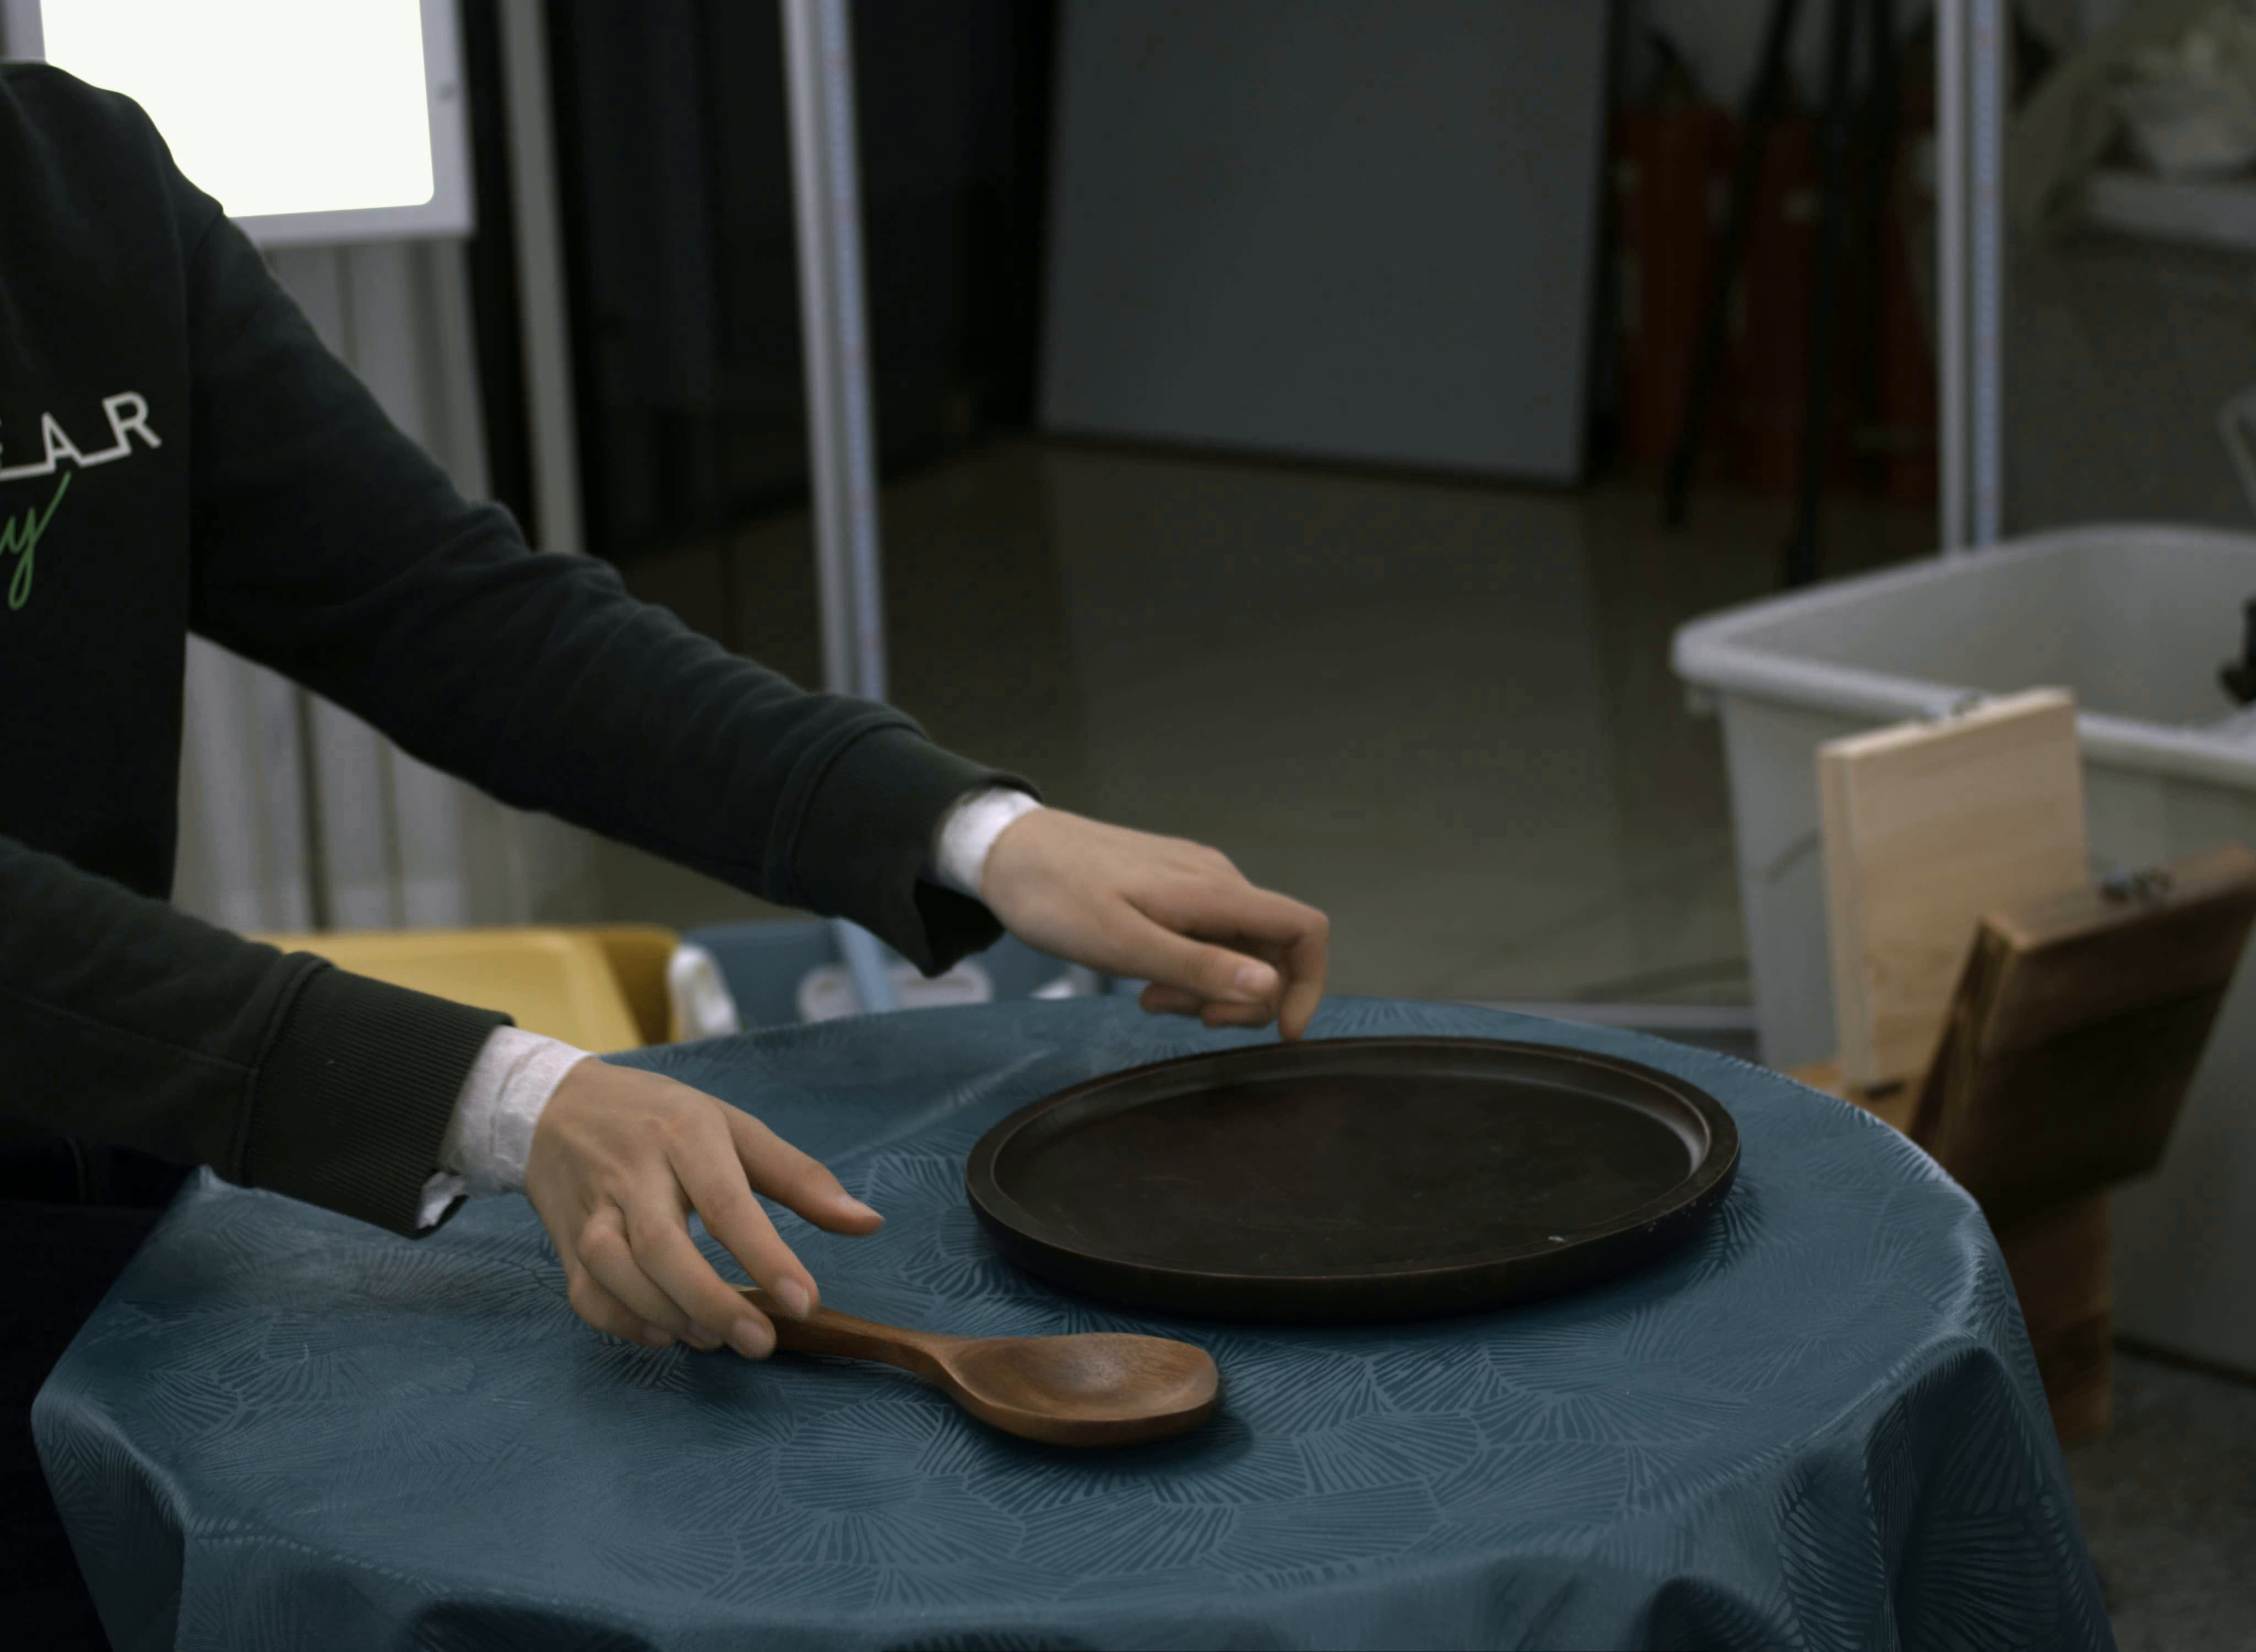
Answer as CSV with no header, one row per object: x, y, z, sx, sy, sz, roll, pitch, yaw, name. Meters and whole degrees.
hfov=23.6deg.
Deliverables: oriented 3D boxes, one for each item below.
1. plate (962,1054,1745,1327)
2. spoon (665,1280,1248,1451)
0.073,0.114,1.734,0.251,0.029,0.255,-3,14,0,plate
-0.056,0.159,1.600,0.217,0.017,0.074,8,18,40,spoon
